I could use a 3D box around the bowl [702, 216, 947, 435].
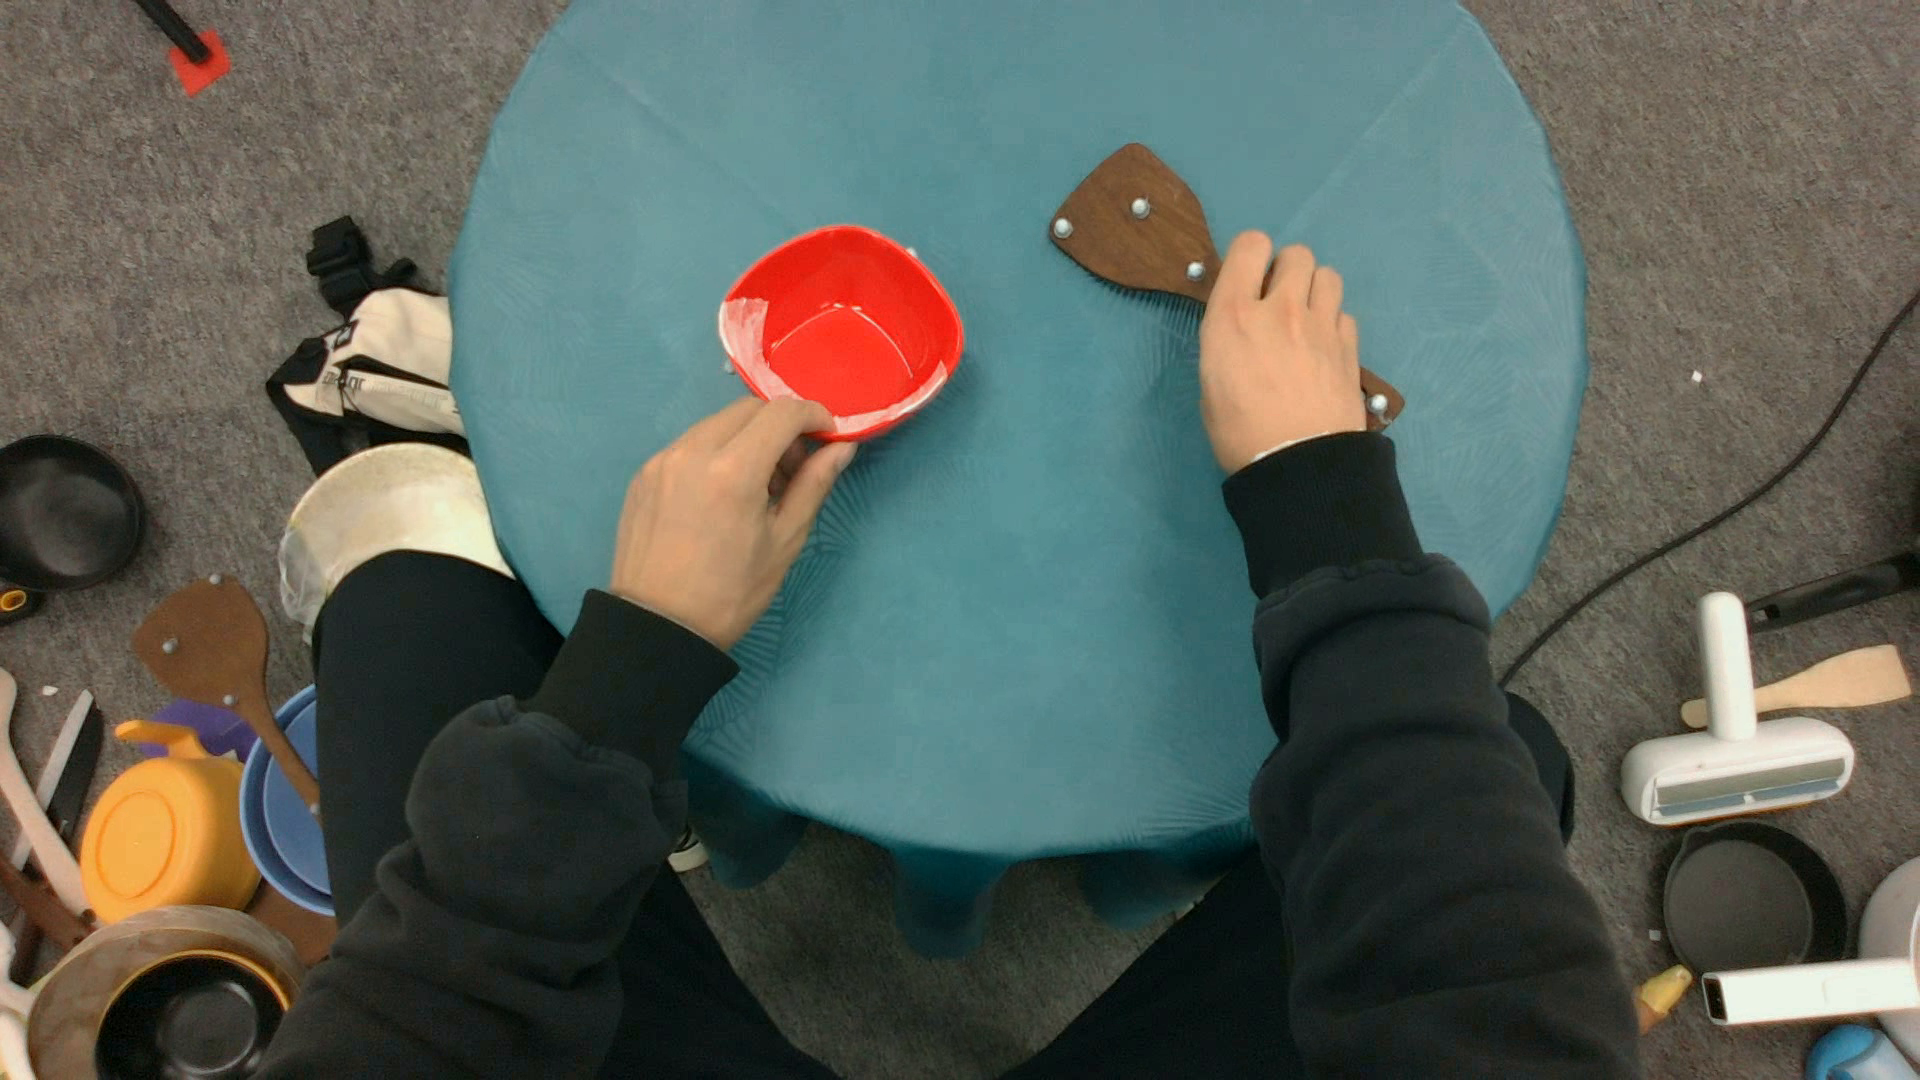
[{"bbox_3d":[-0.068,-0.099,0.688,0.119,0.051,0.119,4,65,-8],"label":"bowl"}]

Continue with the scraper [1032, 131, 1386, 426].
[{"bbox_3d":[0.131,-0.131,0.712,0.076,0.011,0.211,-45,71,-6],"label":"scraper"}]
